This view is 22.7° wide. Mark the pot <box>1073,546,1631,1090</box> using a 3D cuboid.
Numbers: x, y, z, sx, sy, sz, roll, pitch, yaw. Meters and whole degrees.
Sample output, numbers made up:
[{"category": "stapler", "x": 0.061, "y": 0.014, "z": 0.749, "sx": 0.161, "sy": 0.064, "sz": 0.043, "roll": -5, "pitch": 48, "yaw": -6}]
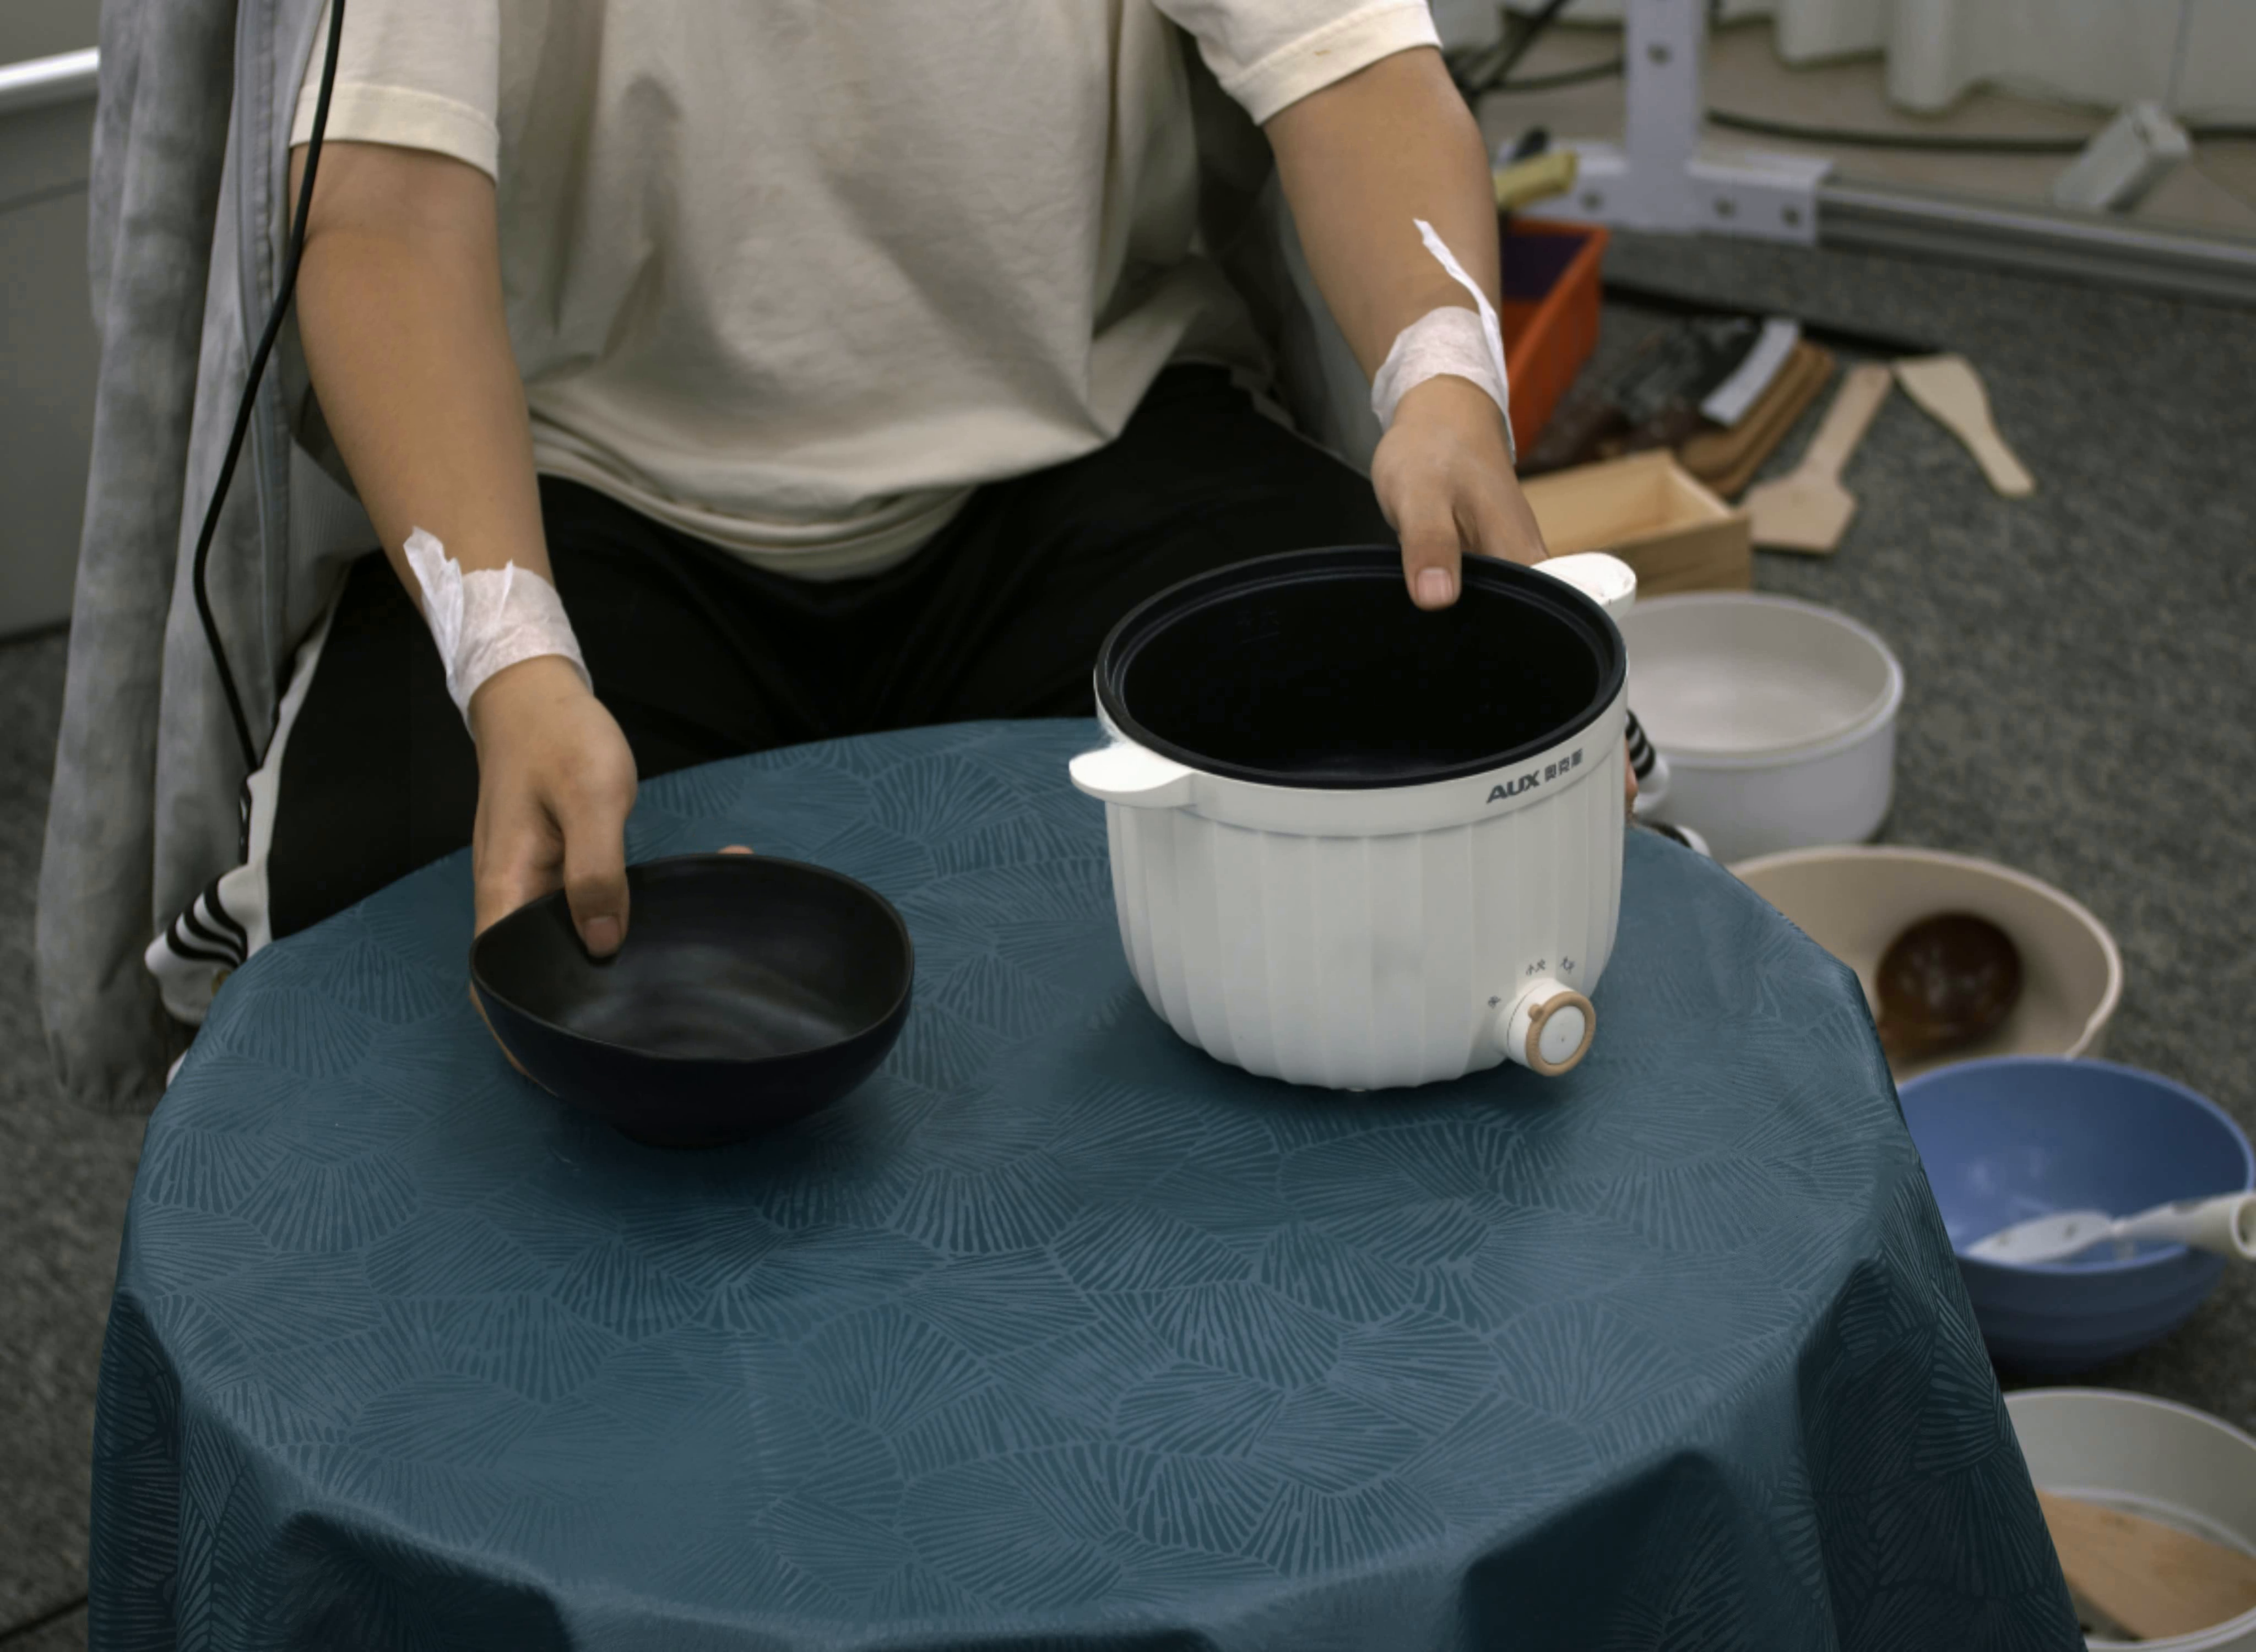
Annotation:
[{"category": "pot", "x": 0.086, "y": 0.002, "z": 1.934, "sx": 0.243, "sy": 0.141, "sz": 0.190, "roll": -23, "pitch": 30, "yaw": -33}]

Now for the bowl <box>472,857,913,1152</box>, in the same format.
[{"category": "bowl", "x": -0.148, "y": 0.068, "z": 1.909, "sx": 0.170, "sy": 0.066, "sz": 0.139, "roll": 18, "pitch": 33, "yaw": 38}]
